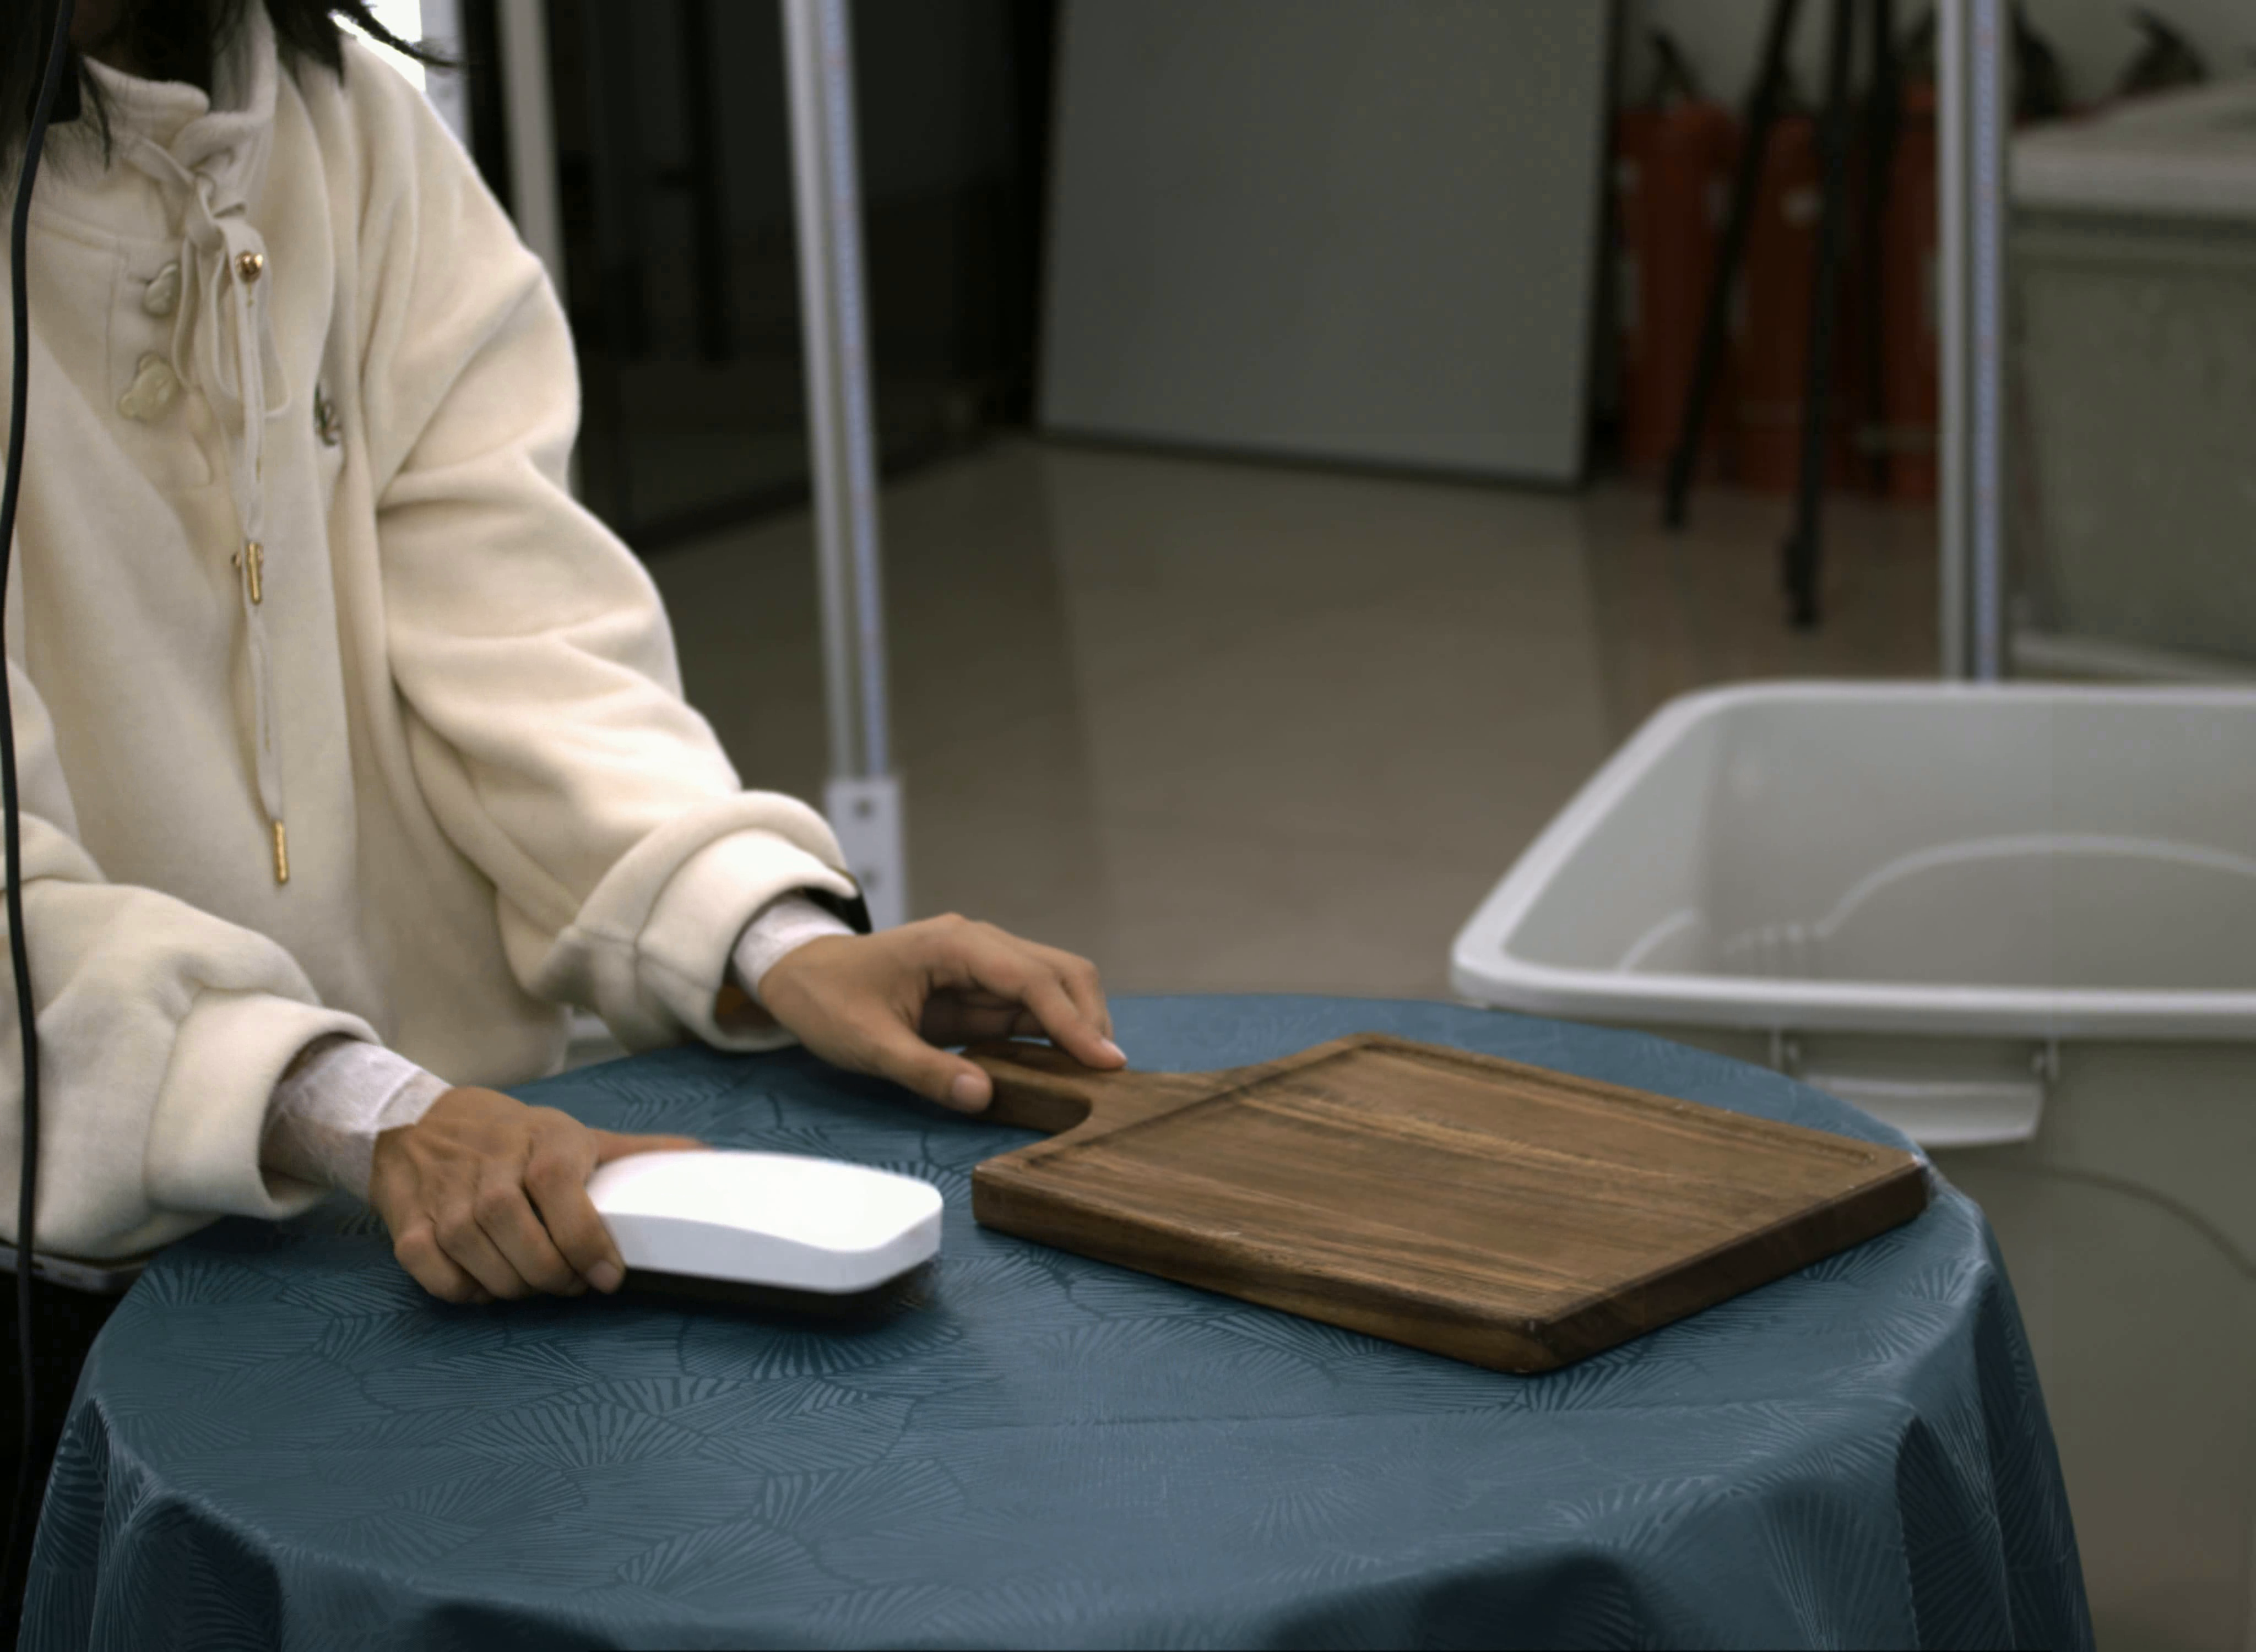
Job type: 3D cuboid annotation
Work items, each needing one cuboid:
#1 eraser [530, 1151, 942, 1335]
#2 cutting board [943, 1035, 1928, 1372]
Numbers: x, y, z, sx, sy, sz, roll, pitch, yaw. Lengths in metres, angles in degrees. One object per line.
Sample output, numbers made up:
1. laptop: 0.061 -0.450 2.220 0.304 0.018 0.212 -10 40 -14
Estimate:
1. eraser: -0.121 0.129 1.687 0.132 0.035 0.062 5 17 32
2. cutting board: 0.067 0.109 1.752 0.197 0.023 0.355 -16 18 -41
